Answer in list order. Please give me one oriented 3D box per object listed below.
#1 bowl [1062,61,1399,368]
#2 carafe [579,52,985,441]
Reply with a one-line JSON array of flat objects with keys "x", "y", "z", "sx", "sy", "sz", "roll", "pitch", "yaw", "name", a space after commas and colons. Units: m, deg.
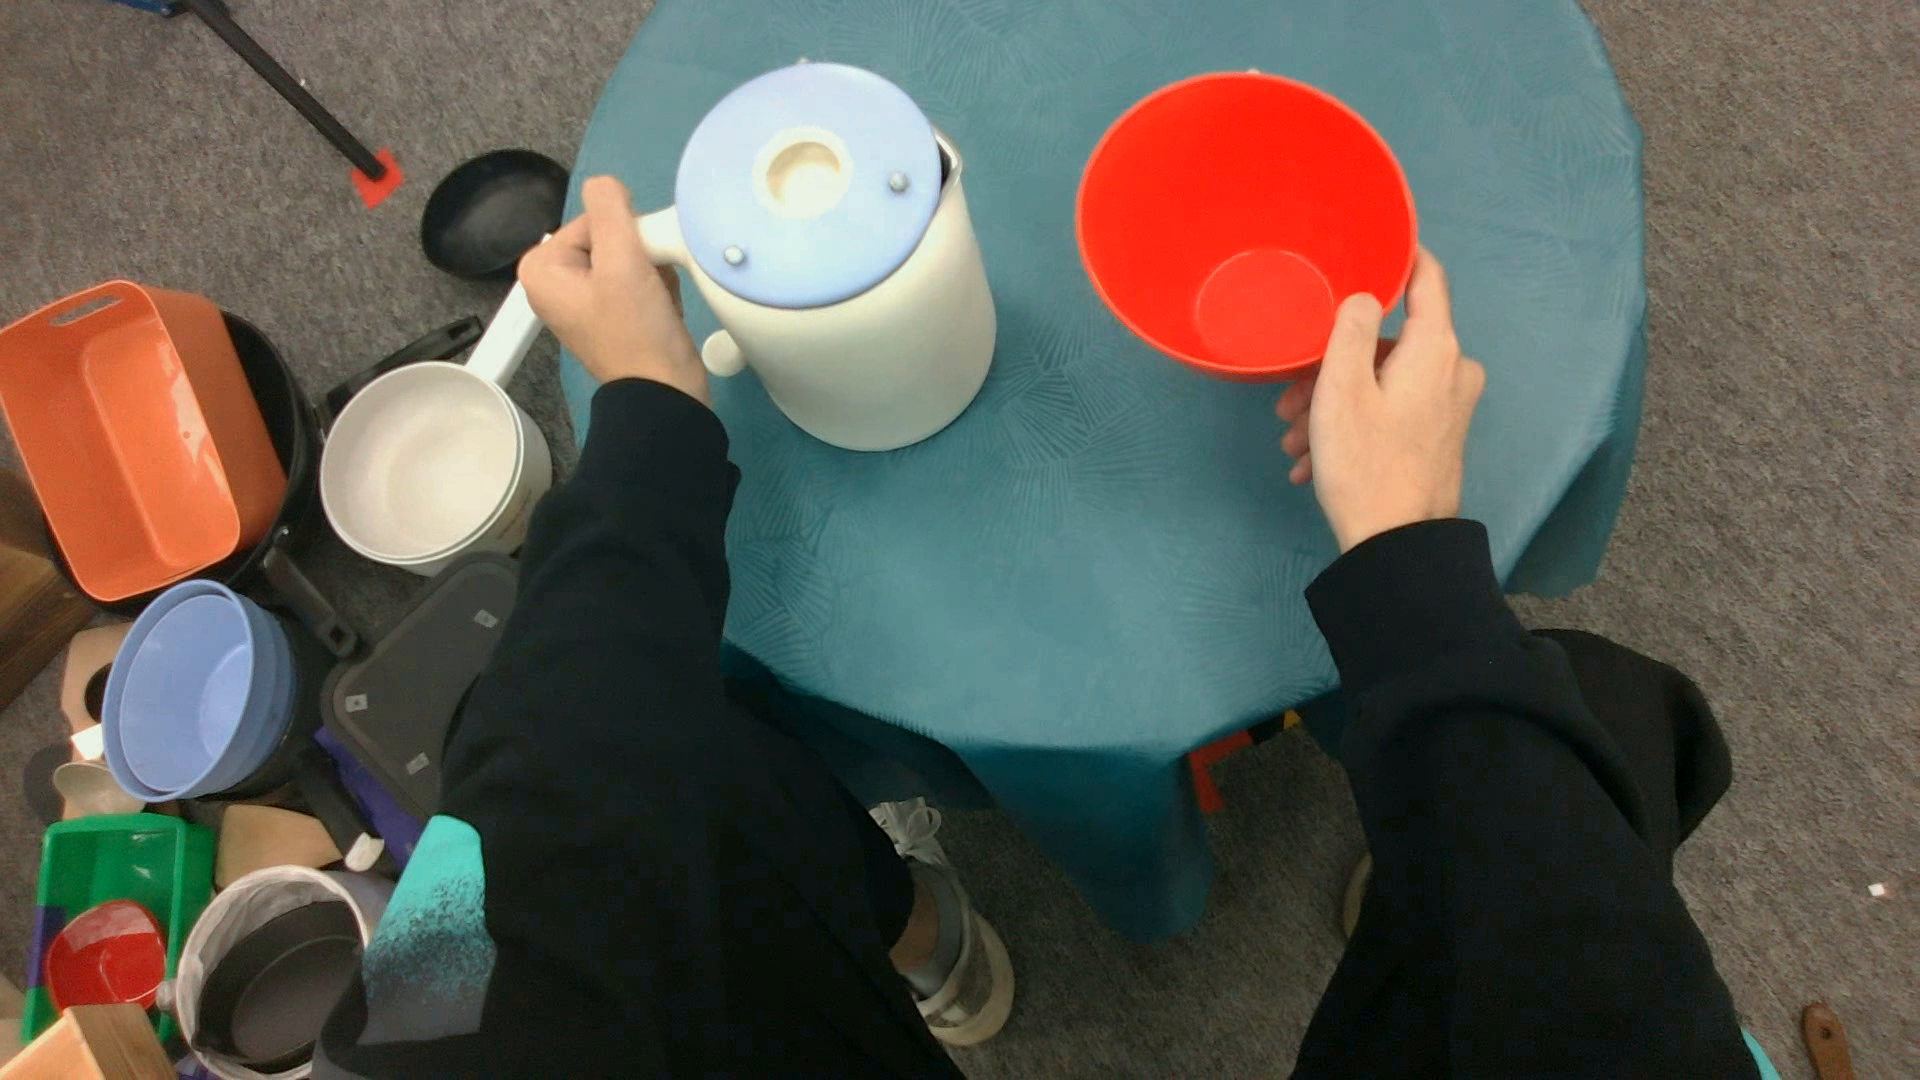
[{"x": 0.127, "y": -0.138, "z": 0.650, "sx": 0.148, "sy": 0.104, "sz": 0.148, "roll": -3, "pitch": 71, "yaw": 10, "name": "bowl"}, {"x": -0.085, "y": -0.132, "z": 0.677, "sx": 0.191, "sy": 0.182, "sz": 0.132, "roll": -11, "pitch": 71, "yaw": 7, "name": "carafe"}]
